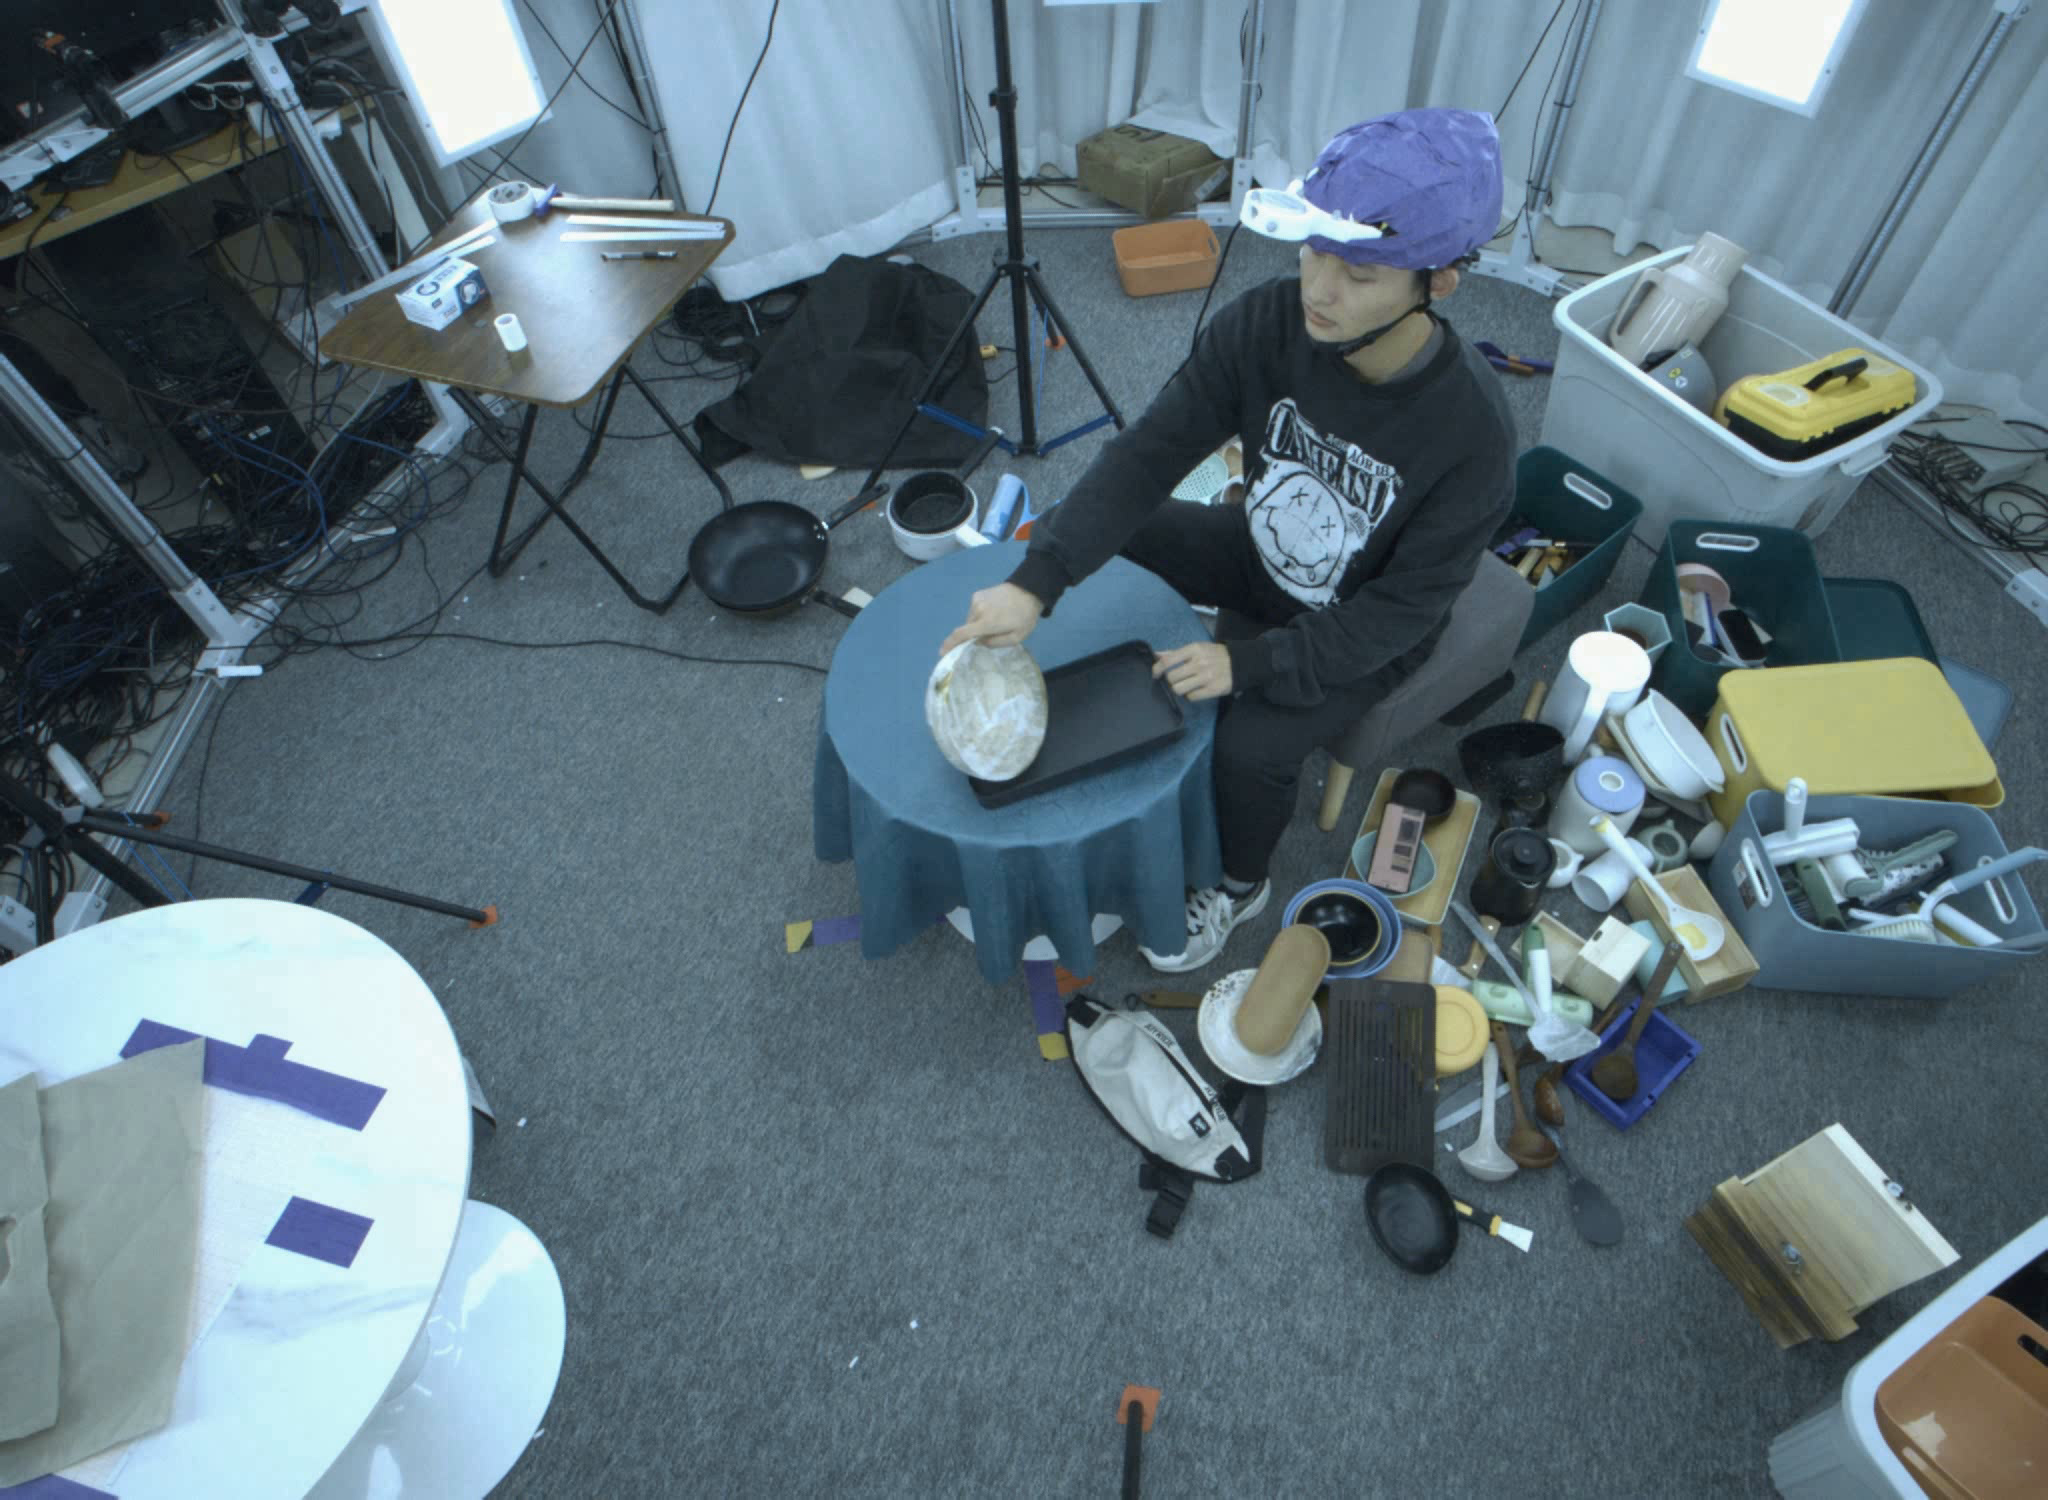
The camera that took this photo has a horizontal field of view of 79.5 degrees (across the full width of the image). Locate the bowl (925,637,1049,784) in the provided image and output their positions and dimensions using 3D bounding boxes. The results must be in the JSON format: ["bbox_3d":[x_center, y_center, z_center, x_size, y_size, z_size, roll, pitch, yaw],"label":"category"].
[{"bbox_3d":[-0.064,-0.056,1.709,0.092,0.219,0.215,1,49,42],"label":"bowl"}]

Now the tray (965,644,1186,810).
[{"bbox_3d":[0.060,-0.036,1.778,0.319,0.037,0.181,-18,54,-4],"label":"tray"}]
